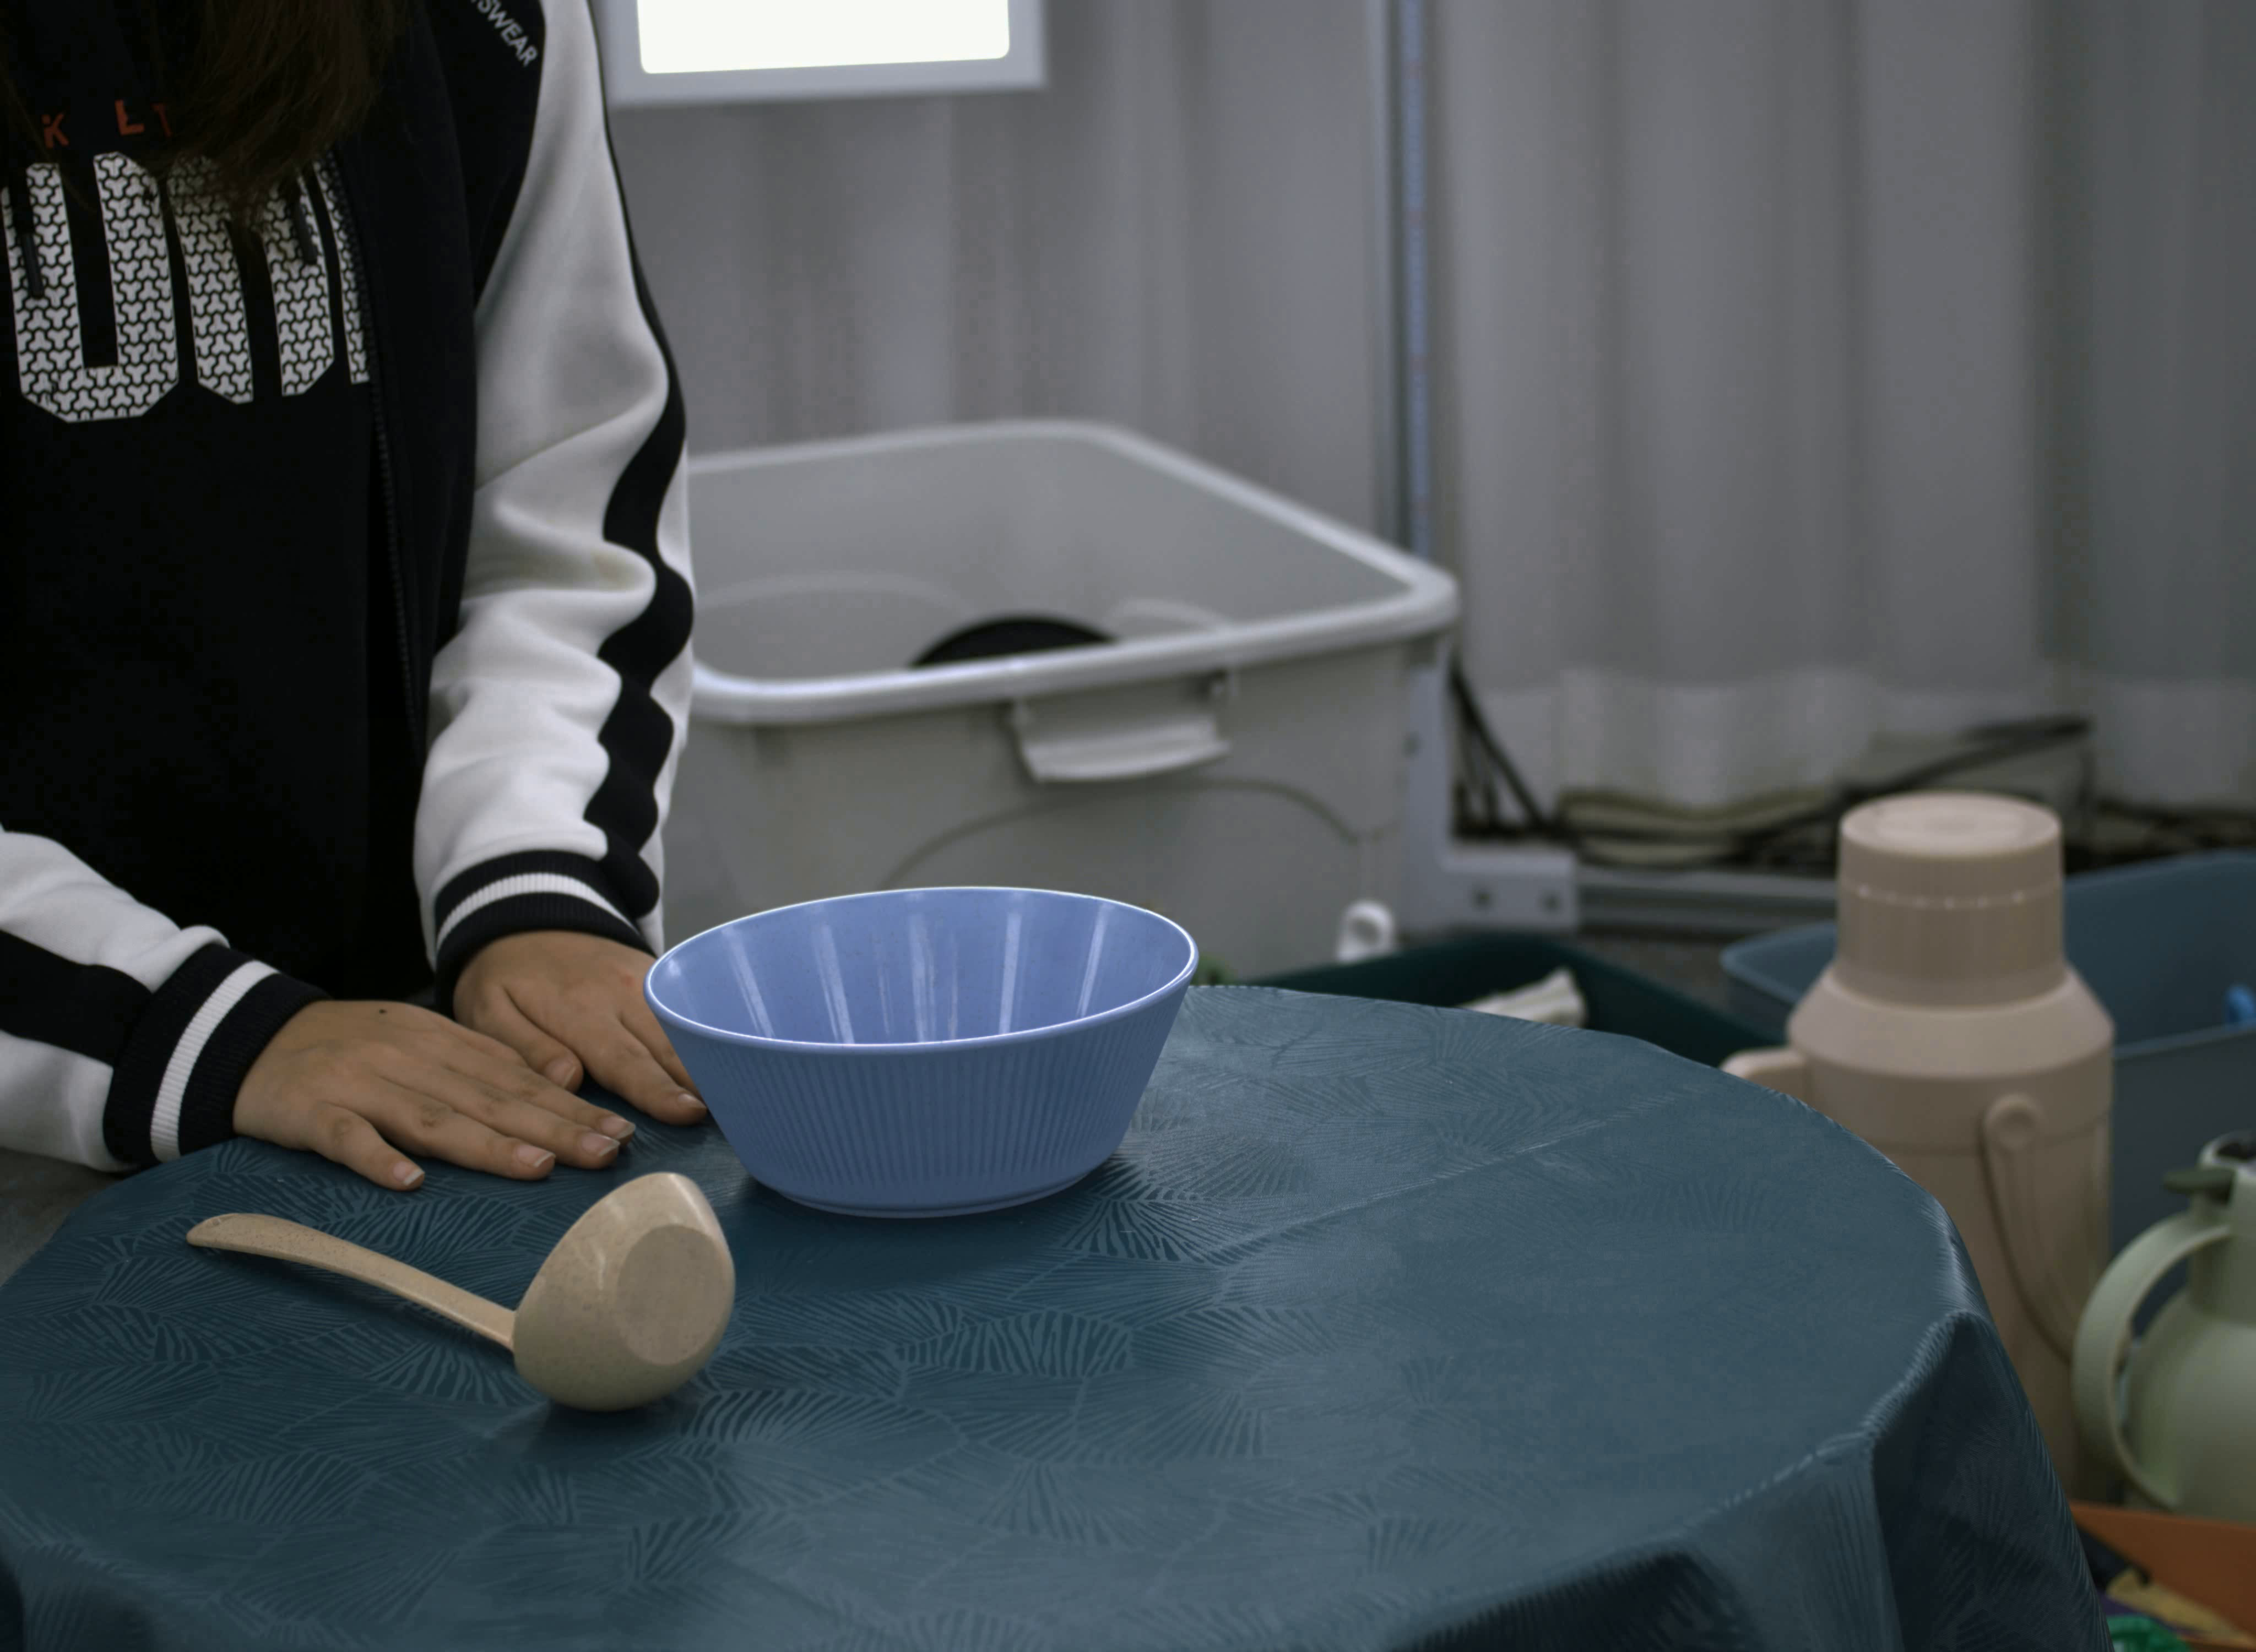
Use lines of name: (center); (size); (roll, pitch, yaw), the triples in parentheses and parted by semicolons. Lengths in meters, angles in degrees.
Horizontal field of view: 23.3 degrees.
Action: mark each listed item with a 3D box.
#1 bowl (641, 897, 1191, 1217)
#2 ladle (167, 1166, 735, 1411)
bowl: (-0.066, 0.075, 1.740); (0.175, 0.070, 0.177); (-2, 14, 0)
ladle: (-0.214, 0.116, 1.612); (0.256, 0.072, 0.072); (11, 32, 44)
